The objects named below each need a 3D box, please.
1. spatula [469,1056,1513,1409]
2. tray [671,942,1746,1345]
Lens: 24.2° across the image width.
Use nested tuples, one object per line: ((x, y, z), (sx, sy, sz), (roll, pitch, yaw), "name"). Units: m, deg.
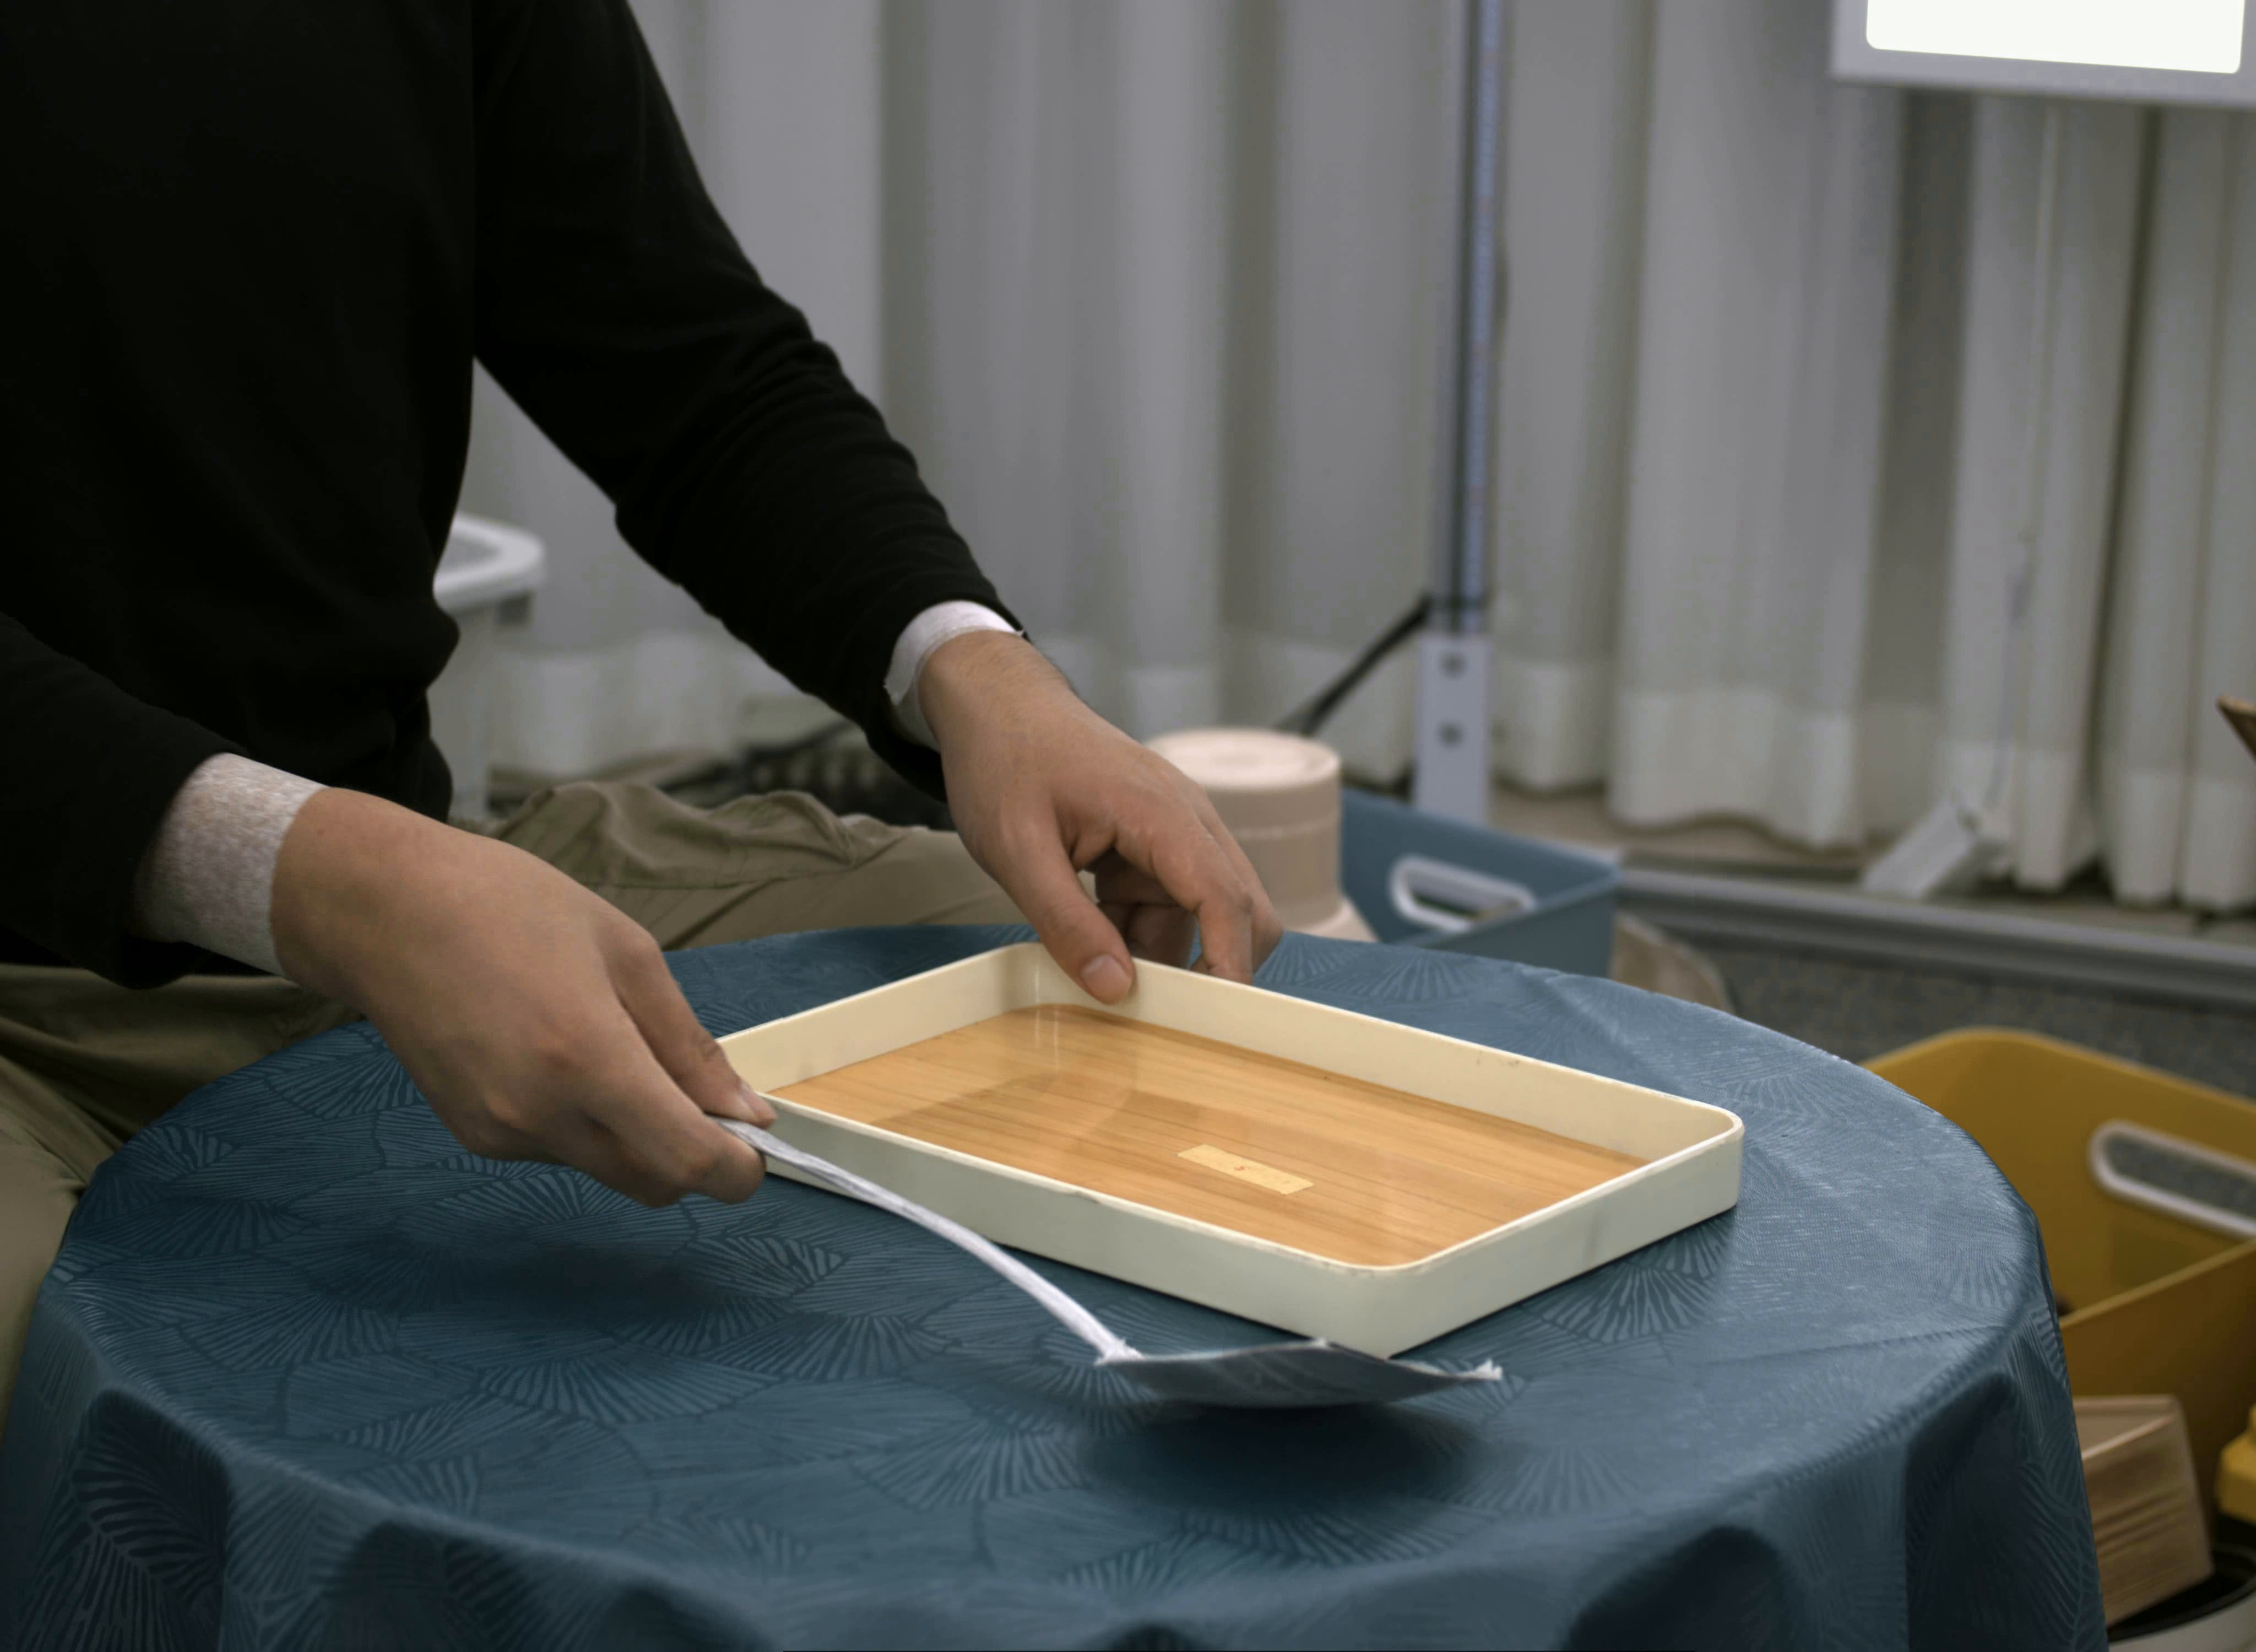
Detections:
((-0.058, 0.106, 1.486), (0.360, 0.045, 0.100), (22, 3, 33), "spatula")
((0.022, 0.094, 1.637), (0.296, 0.027, 0.192), (13, 20, 39), "tray")
